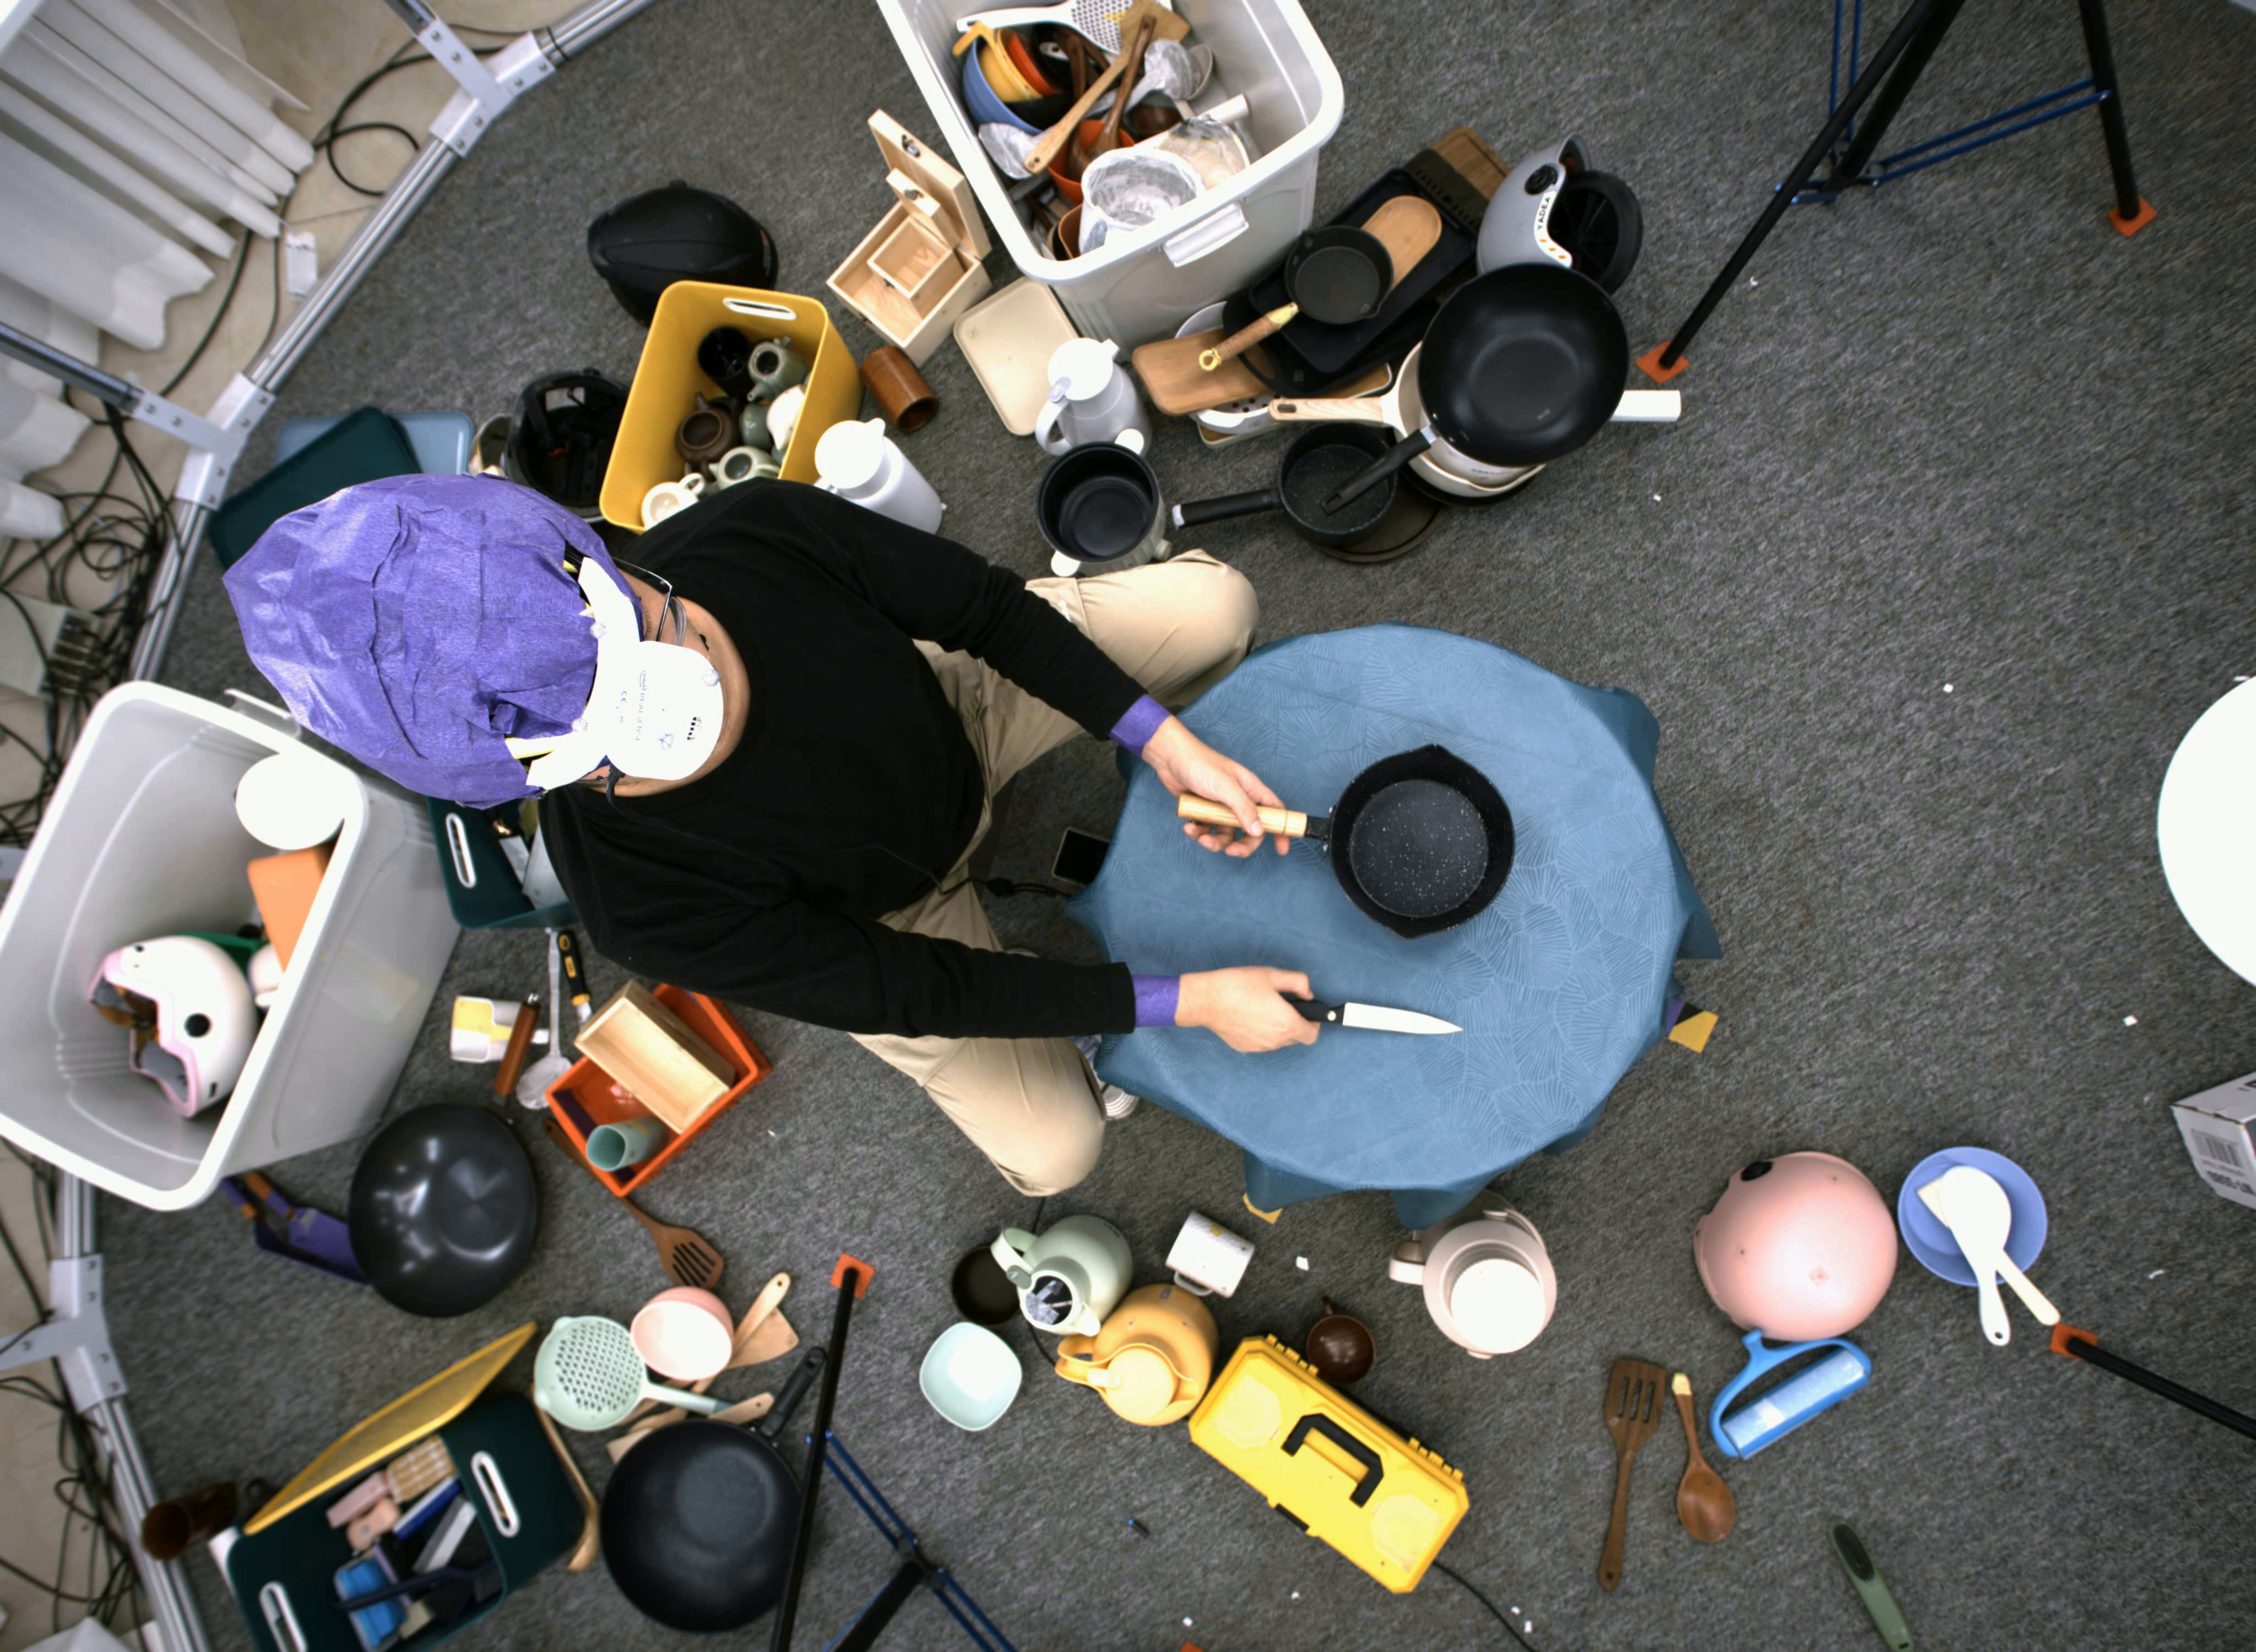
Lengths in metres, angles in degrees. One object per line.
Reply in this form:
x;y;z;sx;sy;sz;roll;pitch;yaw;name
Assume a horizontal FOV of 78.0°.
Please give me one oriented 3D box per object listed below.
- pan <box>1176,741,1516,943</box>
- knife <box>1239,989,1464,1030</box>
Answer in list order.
0.221;0.007;1.420;0.343;0.108;0.207;8;89;10;pan
0.232;0.193;1.438;0.238;0.016;0.024;8;91;-1;knife
